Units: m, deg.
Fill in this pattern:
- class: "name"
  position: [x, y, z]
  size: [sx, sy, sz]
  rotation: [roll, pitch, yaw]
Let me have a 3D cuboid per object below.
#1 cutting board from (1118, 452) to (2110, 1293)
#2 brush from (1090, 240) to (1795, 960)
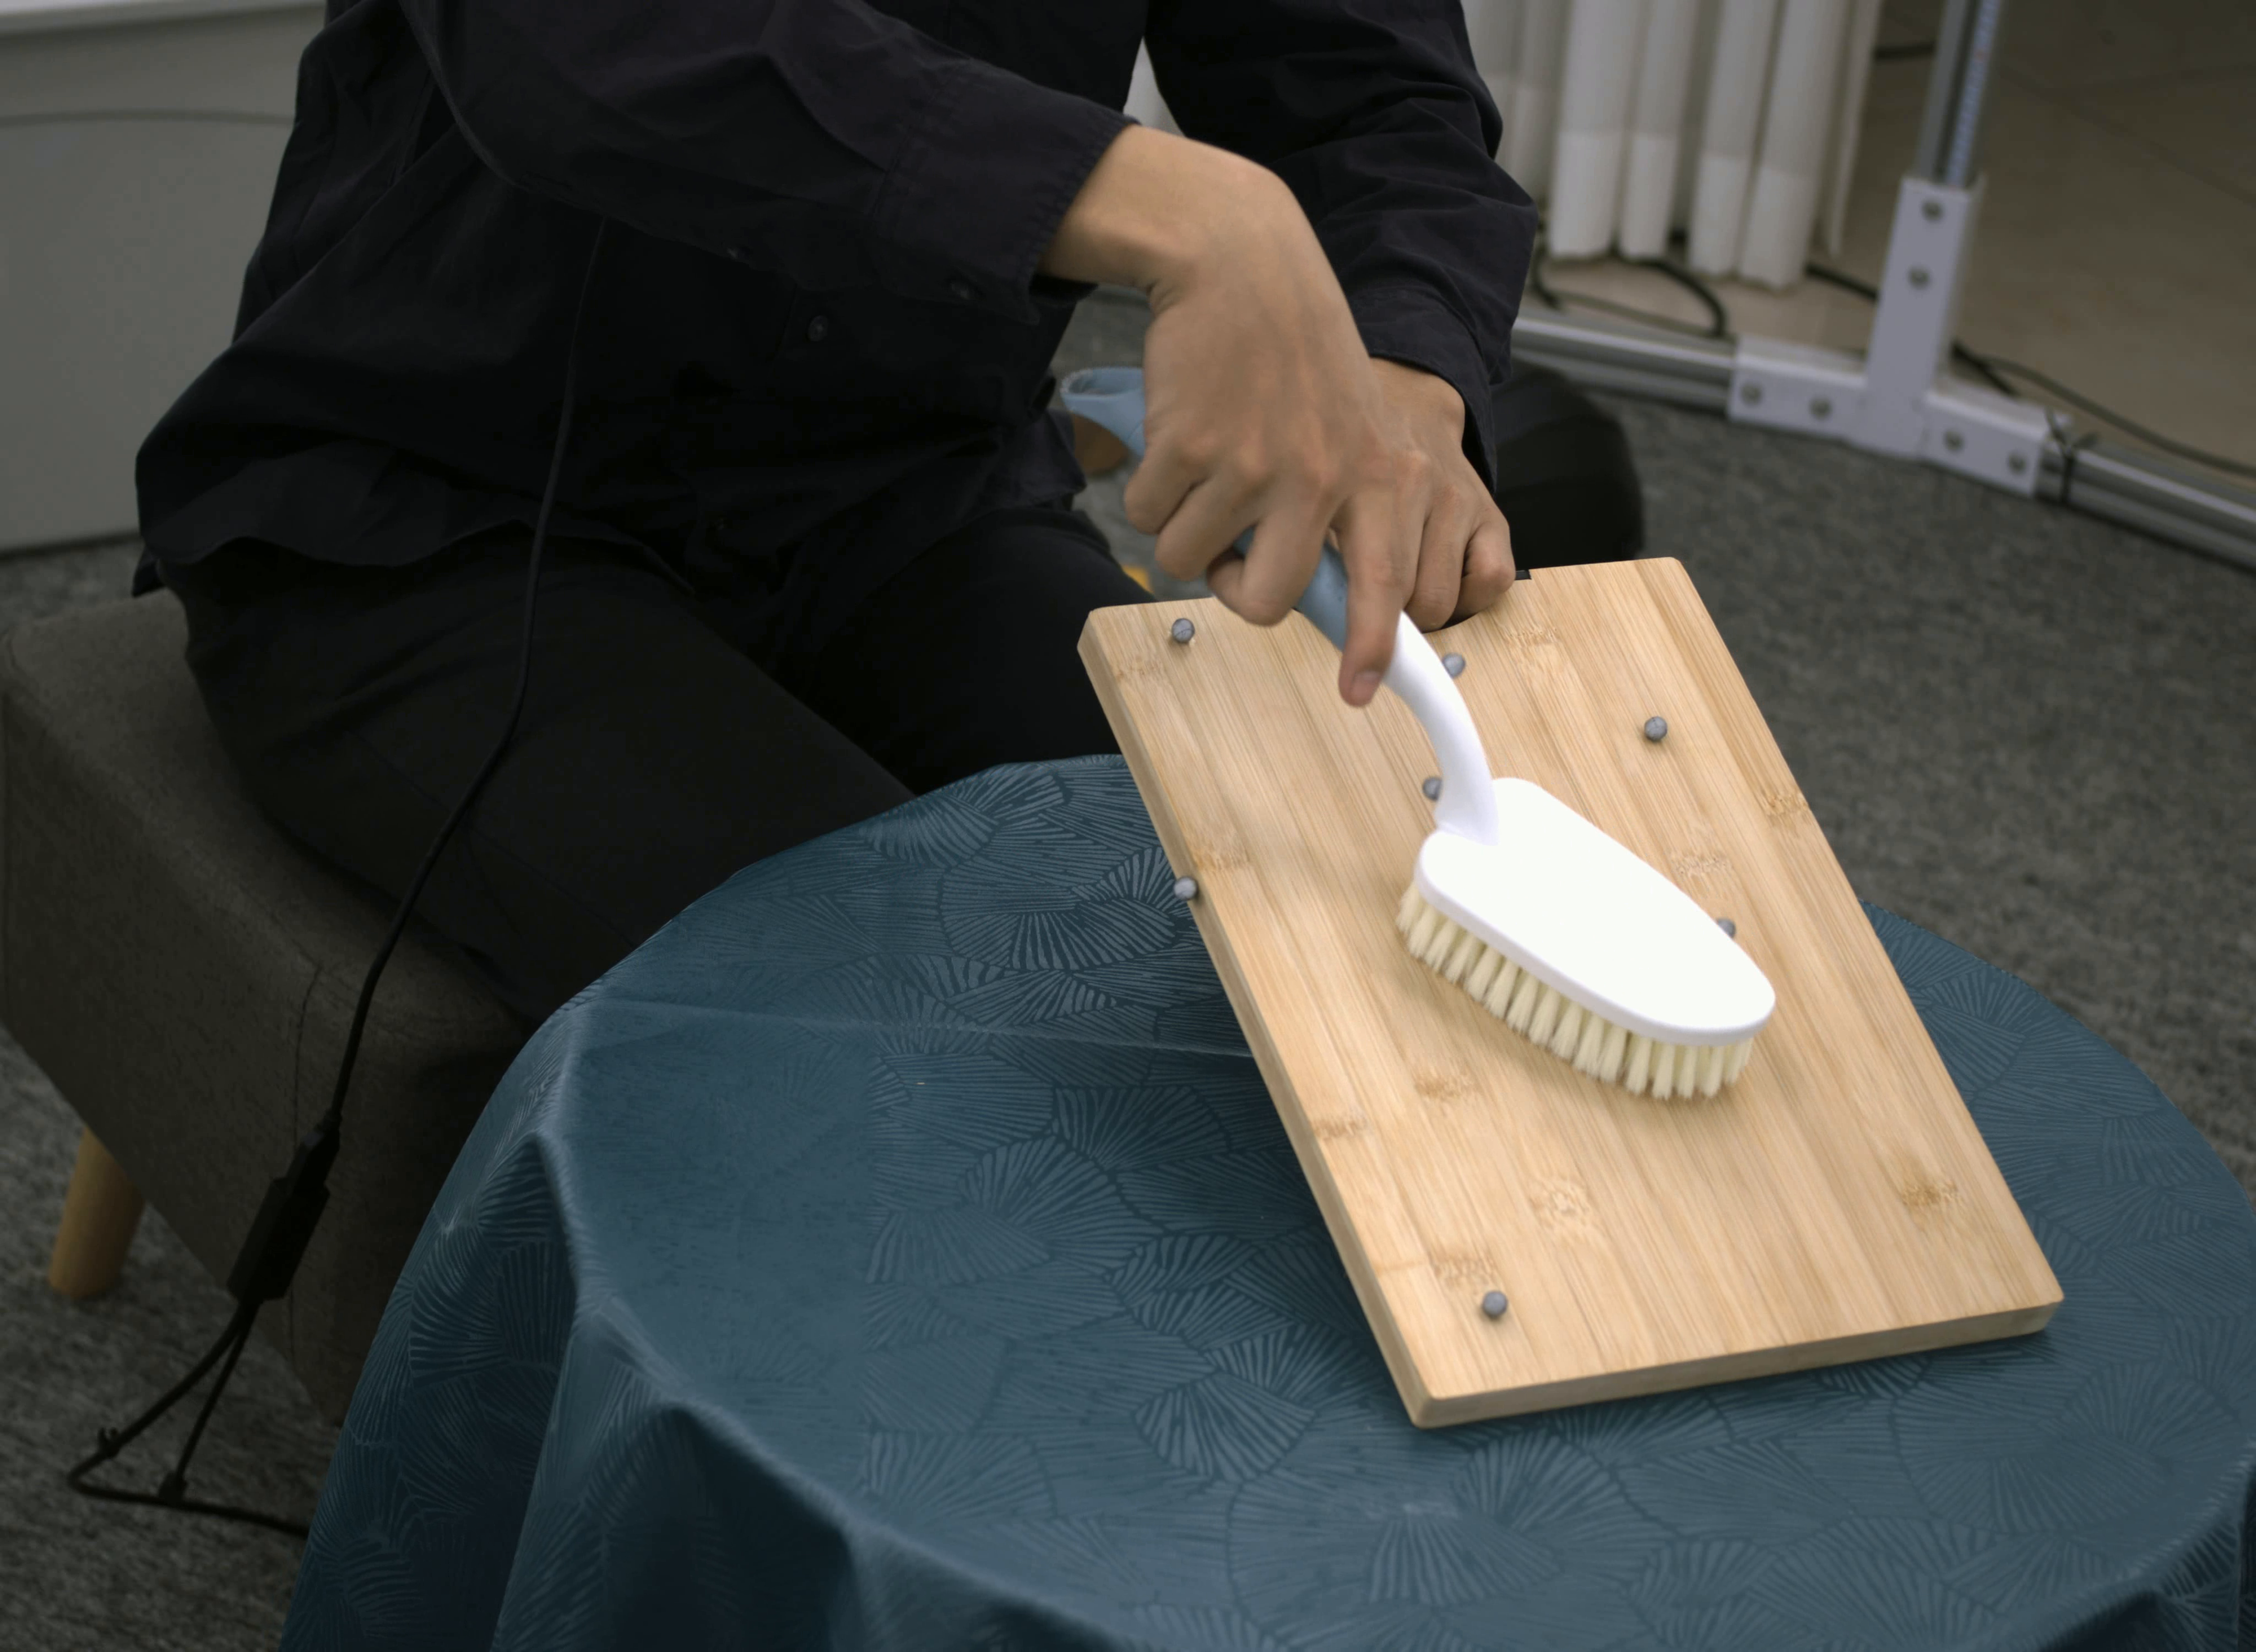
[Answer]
- class: "cutting board"
  position: [0.163, 0.008, 1.851]
  size: [0.249, 0.023, 0.352]
  rotation: [-7, 52, -25]
- class: "brush"
  position: [0.097, -0.072, 1.832]
  size: [0.326, 0.084, 0.083]
  rotation: [44, 12, 5]
